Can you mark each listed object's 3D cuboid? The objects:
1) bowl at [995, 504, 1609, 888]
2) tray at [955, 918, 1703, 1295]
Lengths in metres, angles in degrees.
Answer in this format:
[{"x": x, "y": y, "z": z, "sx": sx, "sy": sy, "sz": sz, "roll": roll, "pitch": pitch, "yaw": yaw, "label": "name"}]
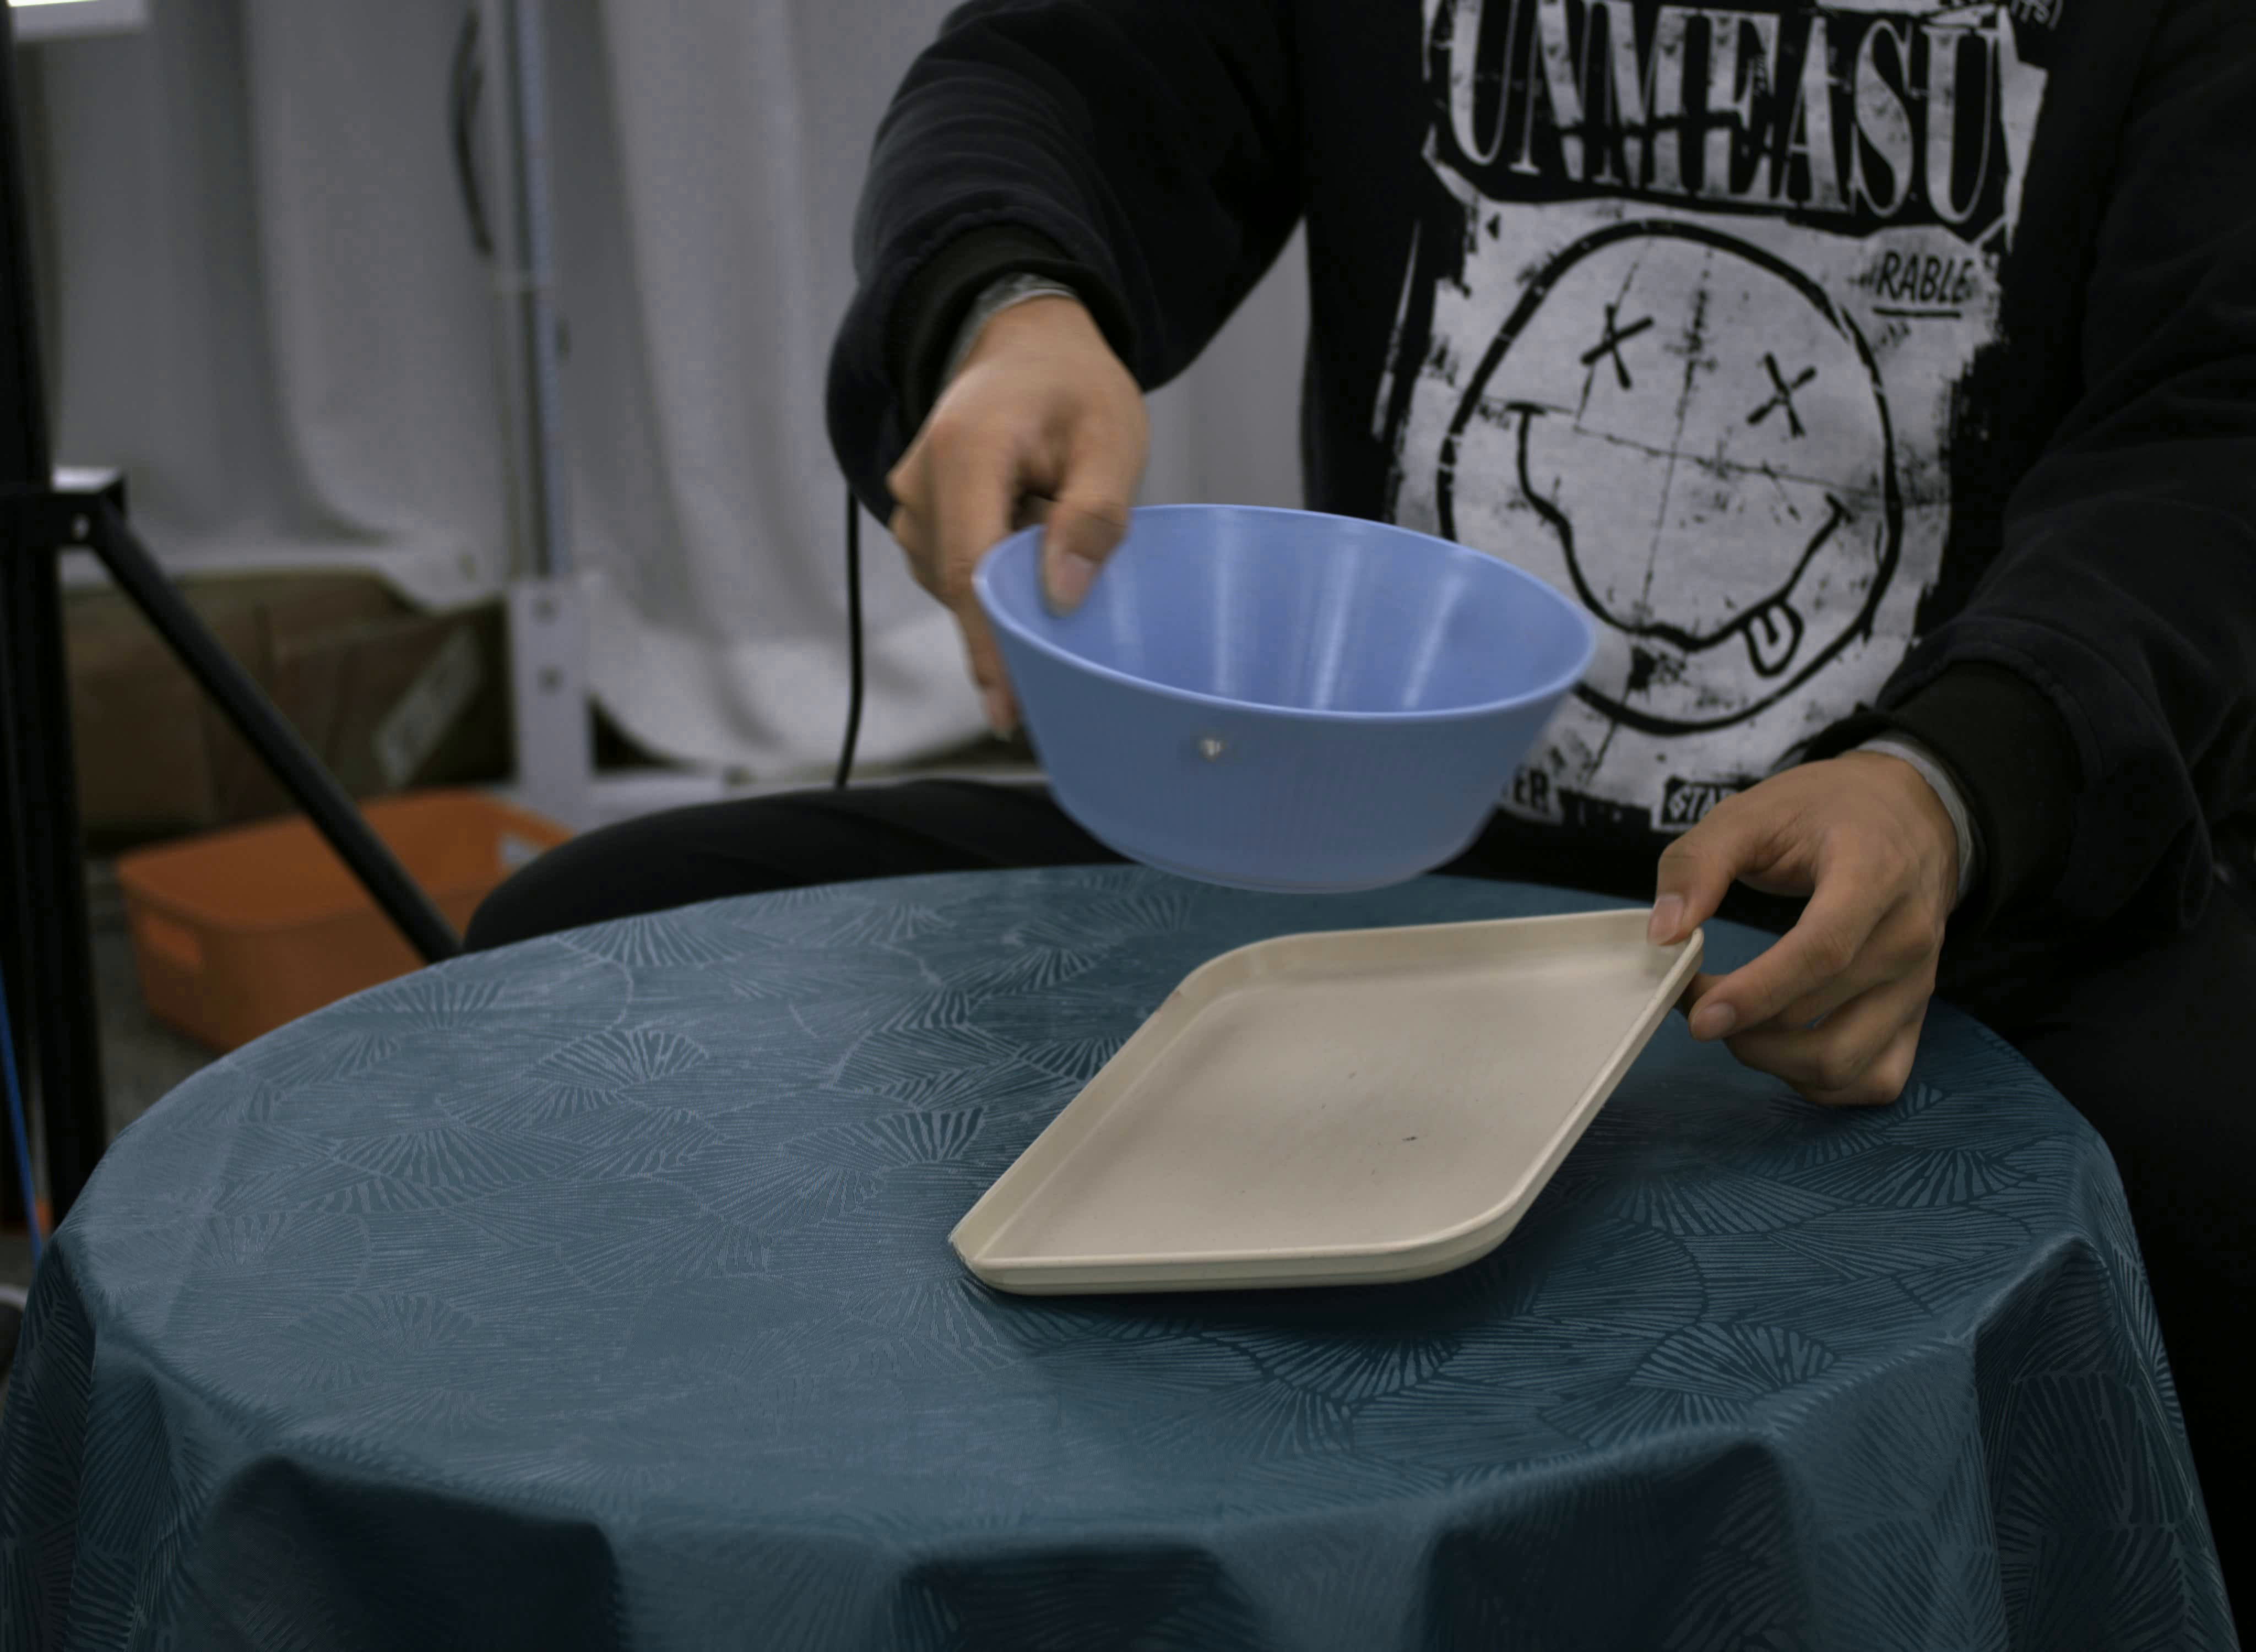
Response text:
[{"x": 0.046, "y": -0.034, "z": 1.515, "sx": 0.175, "sy": 0.070, "sz": 0.177, "roll": 5, "pitch": 21, "yaw": -3, "label": "bowl"}, {"x": 0.063, "y": 0.081, "z": 1.541, "sx": 0.174, "sy": 0.017, "sz": 0.237, "roll": -4, "pitch": 19, "yaw": 25, "label": "tray"}]
